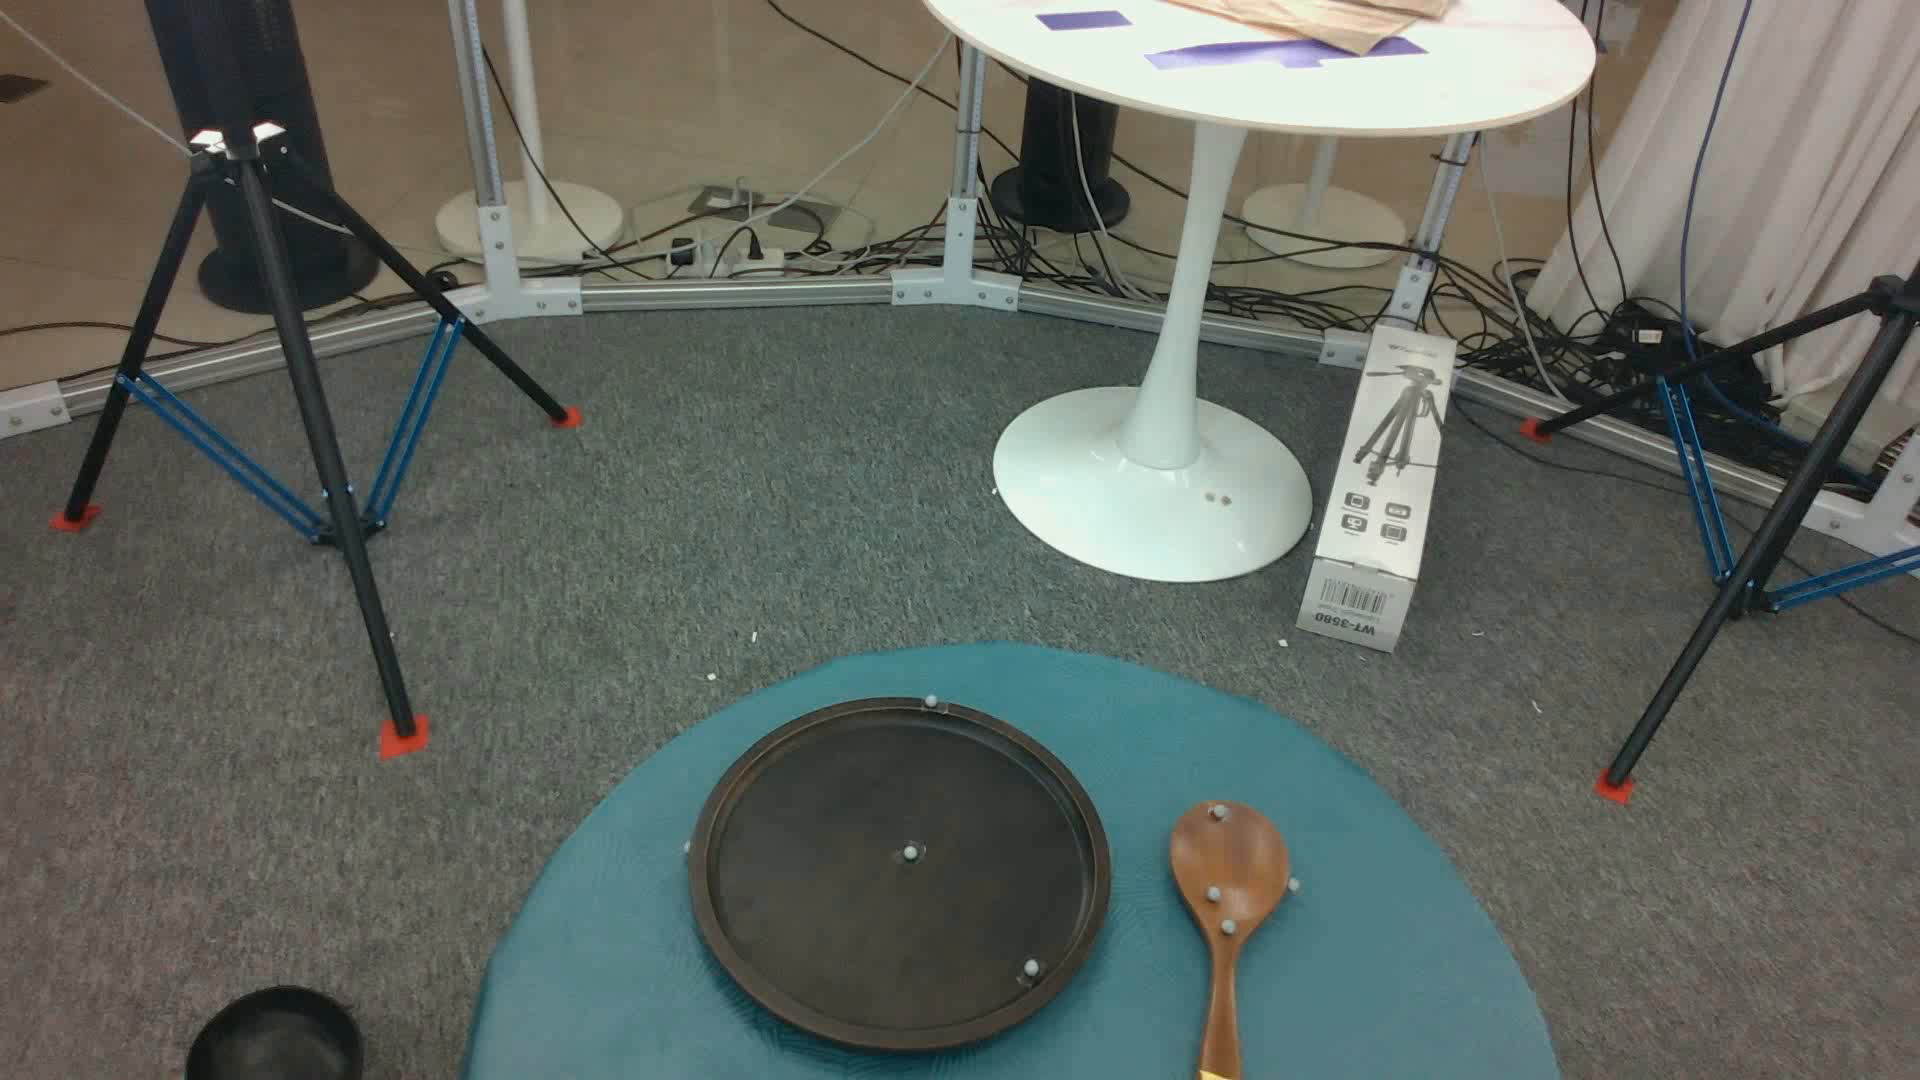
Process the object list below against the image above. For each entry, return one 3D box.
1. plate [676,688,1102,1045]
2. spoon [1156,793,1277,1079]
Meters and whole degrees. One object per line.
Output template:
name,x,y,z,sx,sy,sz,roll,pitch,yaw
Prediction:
plate,-0.041,0.188,0.830,0.255,0.029,0.256,3,39,-2
spoon,0.147,0.235,0.804,0.075,0.017,0.217,10,39,4
